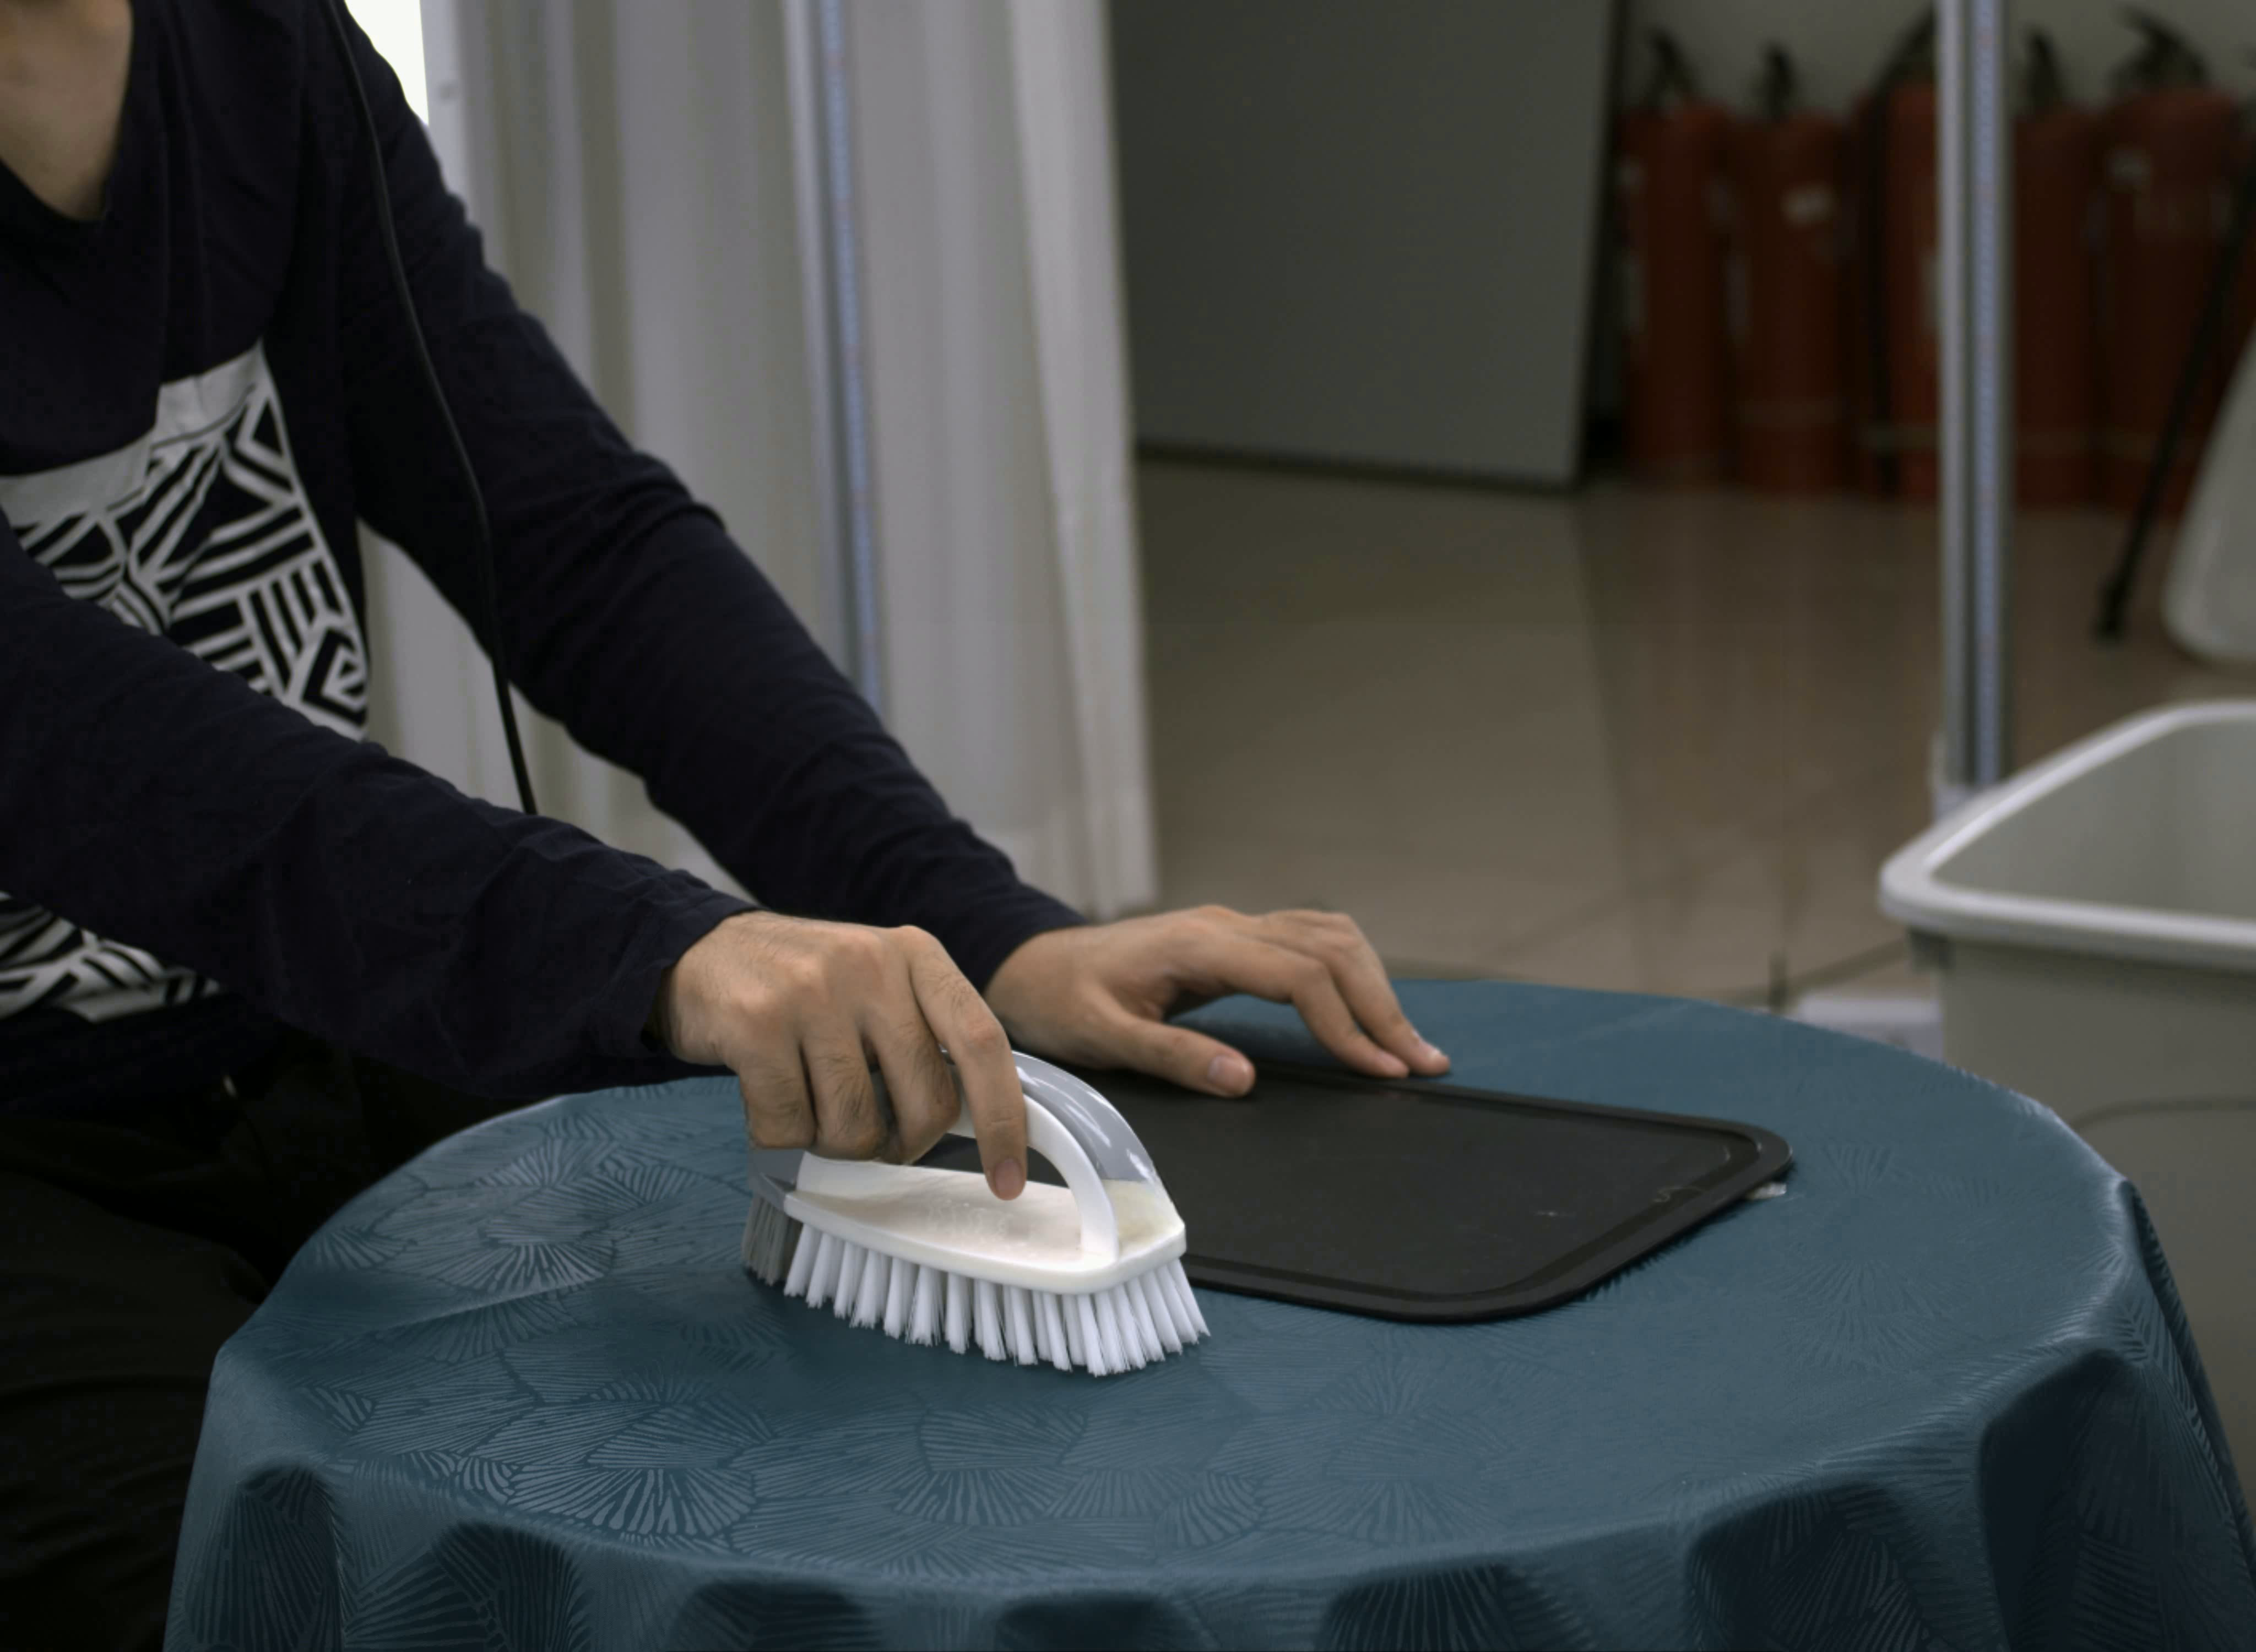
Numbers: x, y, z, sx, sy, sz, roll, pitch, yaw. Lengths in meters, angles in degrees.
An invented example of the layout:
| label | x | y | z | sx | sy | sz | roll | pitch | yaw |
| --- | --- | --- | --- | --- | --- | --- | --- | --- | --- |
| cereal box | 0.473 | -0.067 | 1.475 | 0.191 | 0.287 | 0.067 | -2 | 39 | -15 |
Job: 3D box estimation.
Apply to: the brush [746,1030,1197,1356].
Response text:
| label | x | y | z | sx | sy | sz | roll | pitch | yaw |
| --- | --- | --- | --- | --- | --- | --- | --- | --- | --- |
| brush | -0.059 | 0.108 | 1.653 | 0.177 | 0.095 | 0.060 | 6 | 15 | 43 |

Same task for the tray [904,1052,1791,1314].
| label | x | y | z | sx | sy | sz | roll | pitch | yaw |
| --- | --- | --- | --- | --- | --- | --- | --- | --- | --- |
| tray | 0.044 | 0.113 | 1.780 | 0.328 | 0.010 | 0.207 | 6 | 17 | 38 |
